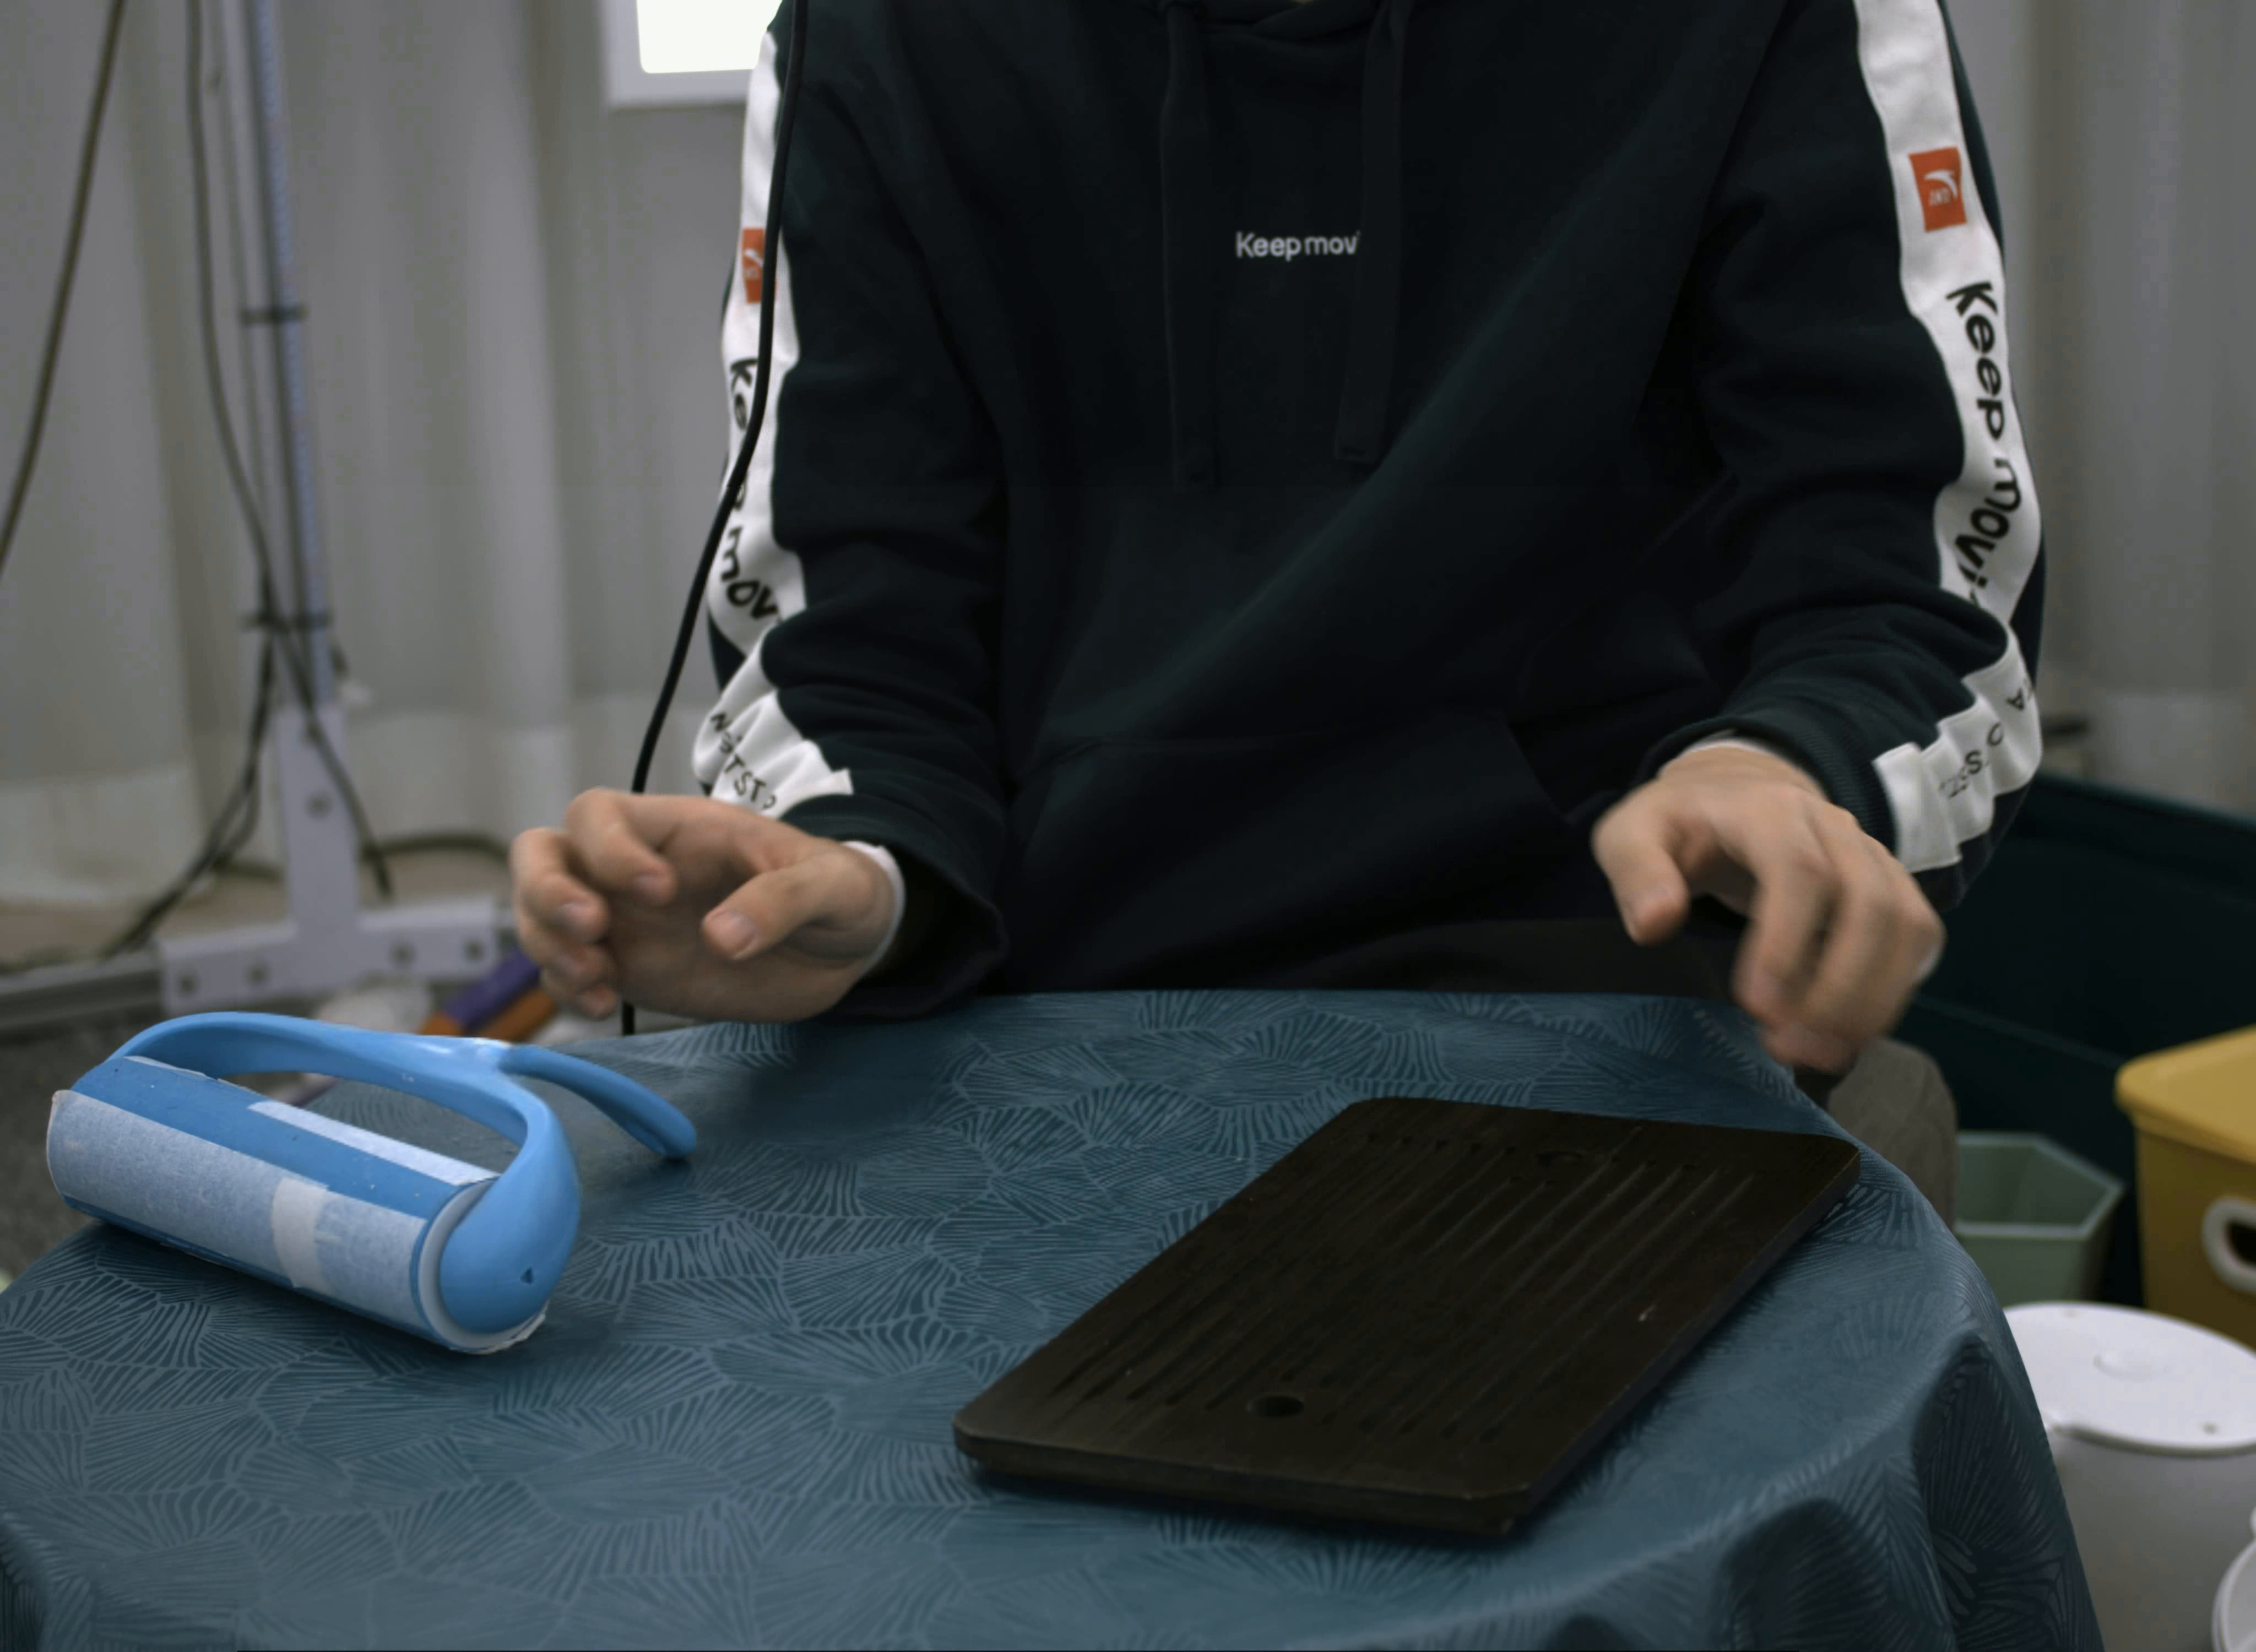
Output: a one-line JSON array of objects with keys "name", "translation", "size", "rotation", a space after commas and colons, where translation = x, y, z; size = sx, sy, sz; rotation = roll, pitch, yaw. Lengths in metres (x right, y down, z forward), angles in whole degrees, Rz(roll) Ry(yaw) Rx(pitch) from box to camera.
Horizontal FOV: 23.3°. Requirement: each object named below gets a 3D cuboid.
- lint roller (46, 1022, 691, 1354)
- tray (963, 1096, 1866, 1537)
[{"name": "lint roller", "translation": [-0.212, 0.099, 1.704], "size": [0.230, 0.067, 0.180], "rotation": [9, 20, 43]}, {"name": "tray", "translation": [0.090, 0.138, 1.575], "size": [0.170, 0.018, 0.306], "rotation": [4, 17, 25]}]
